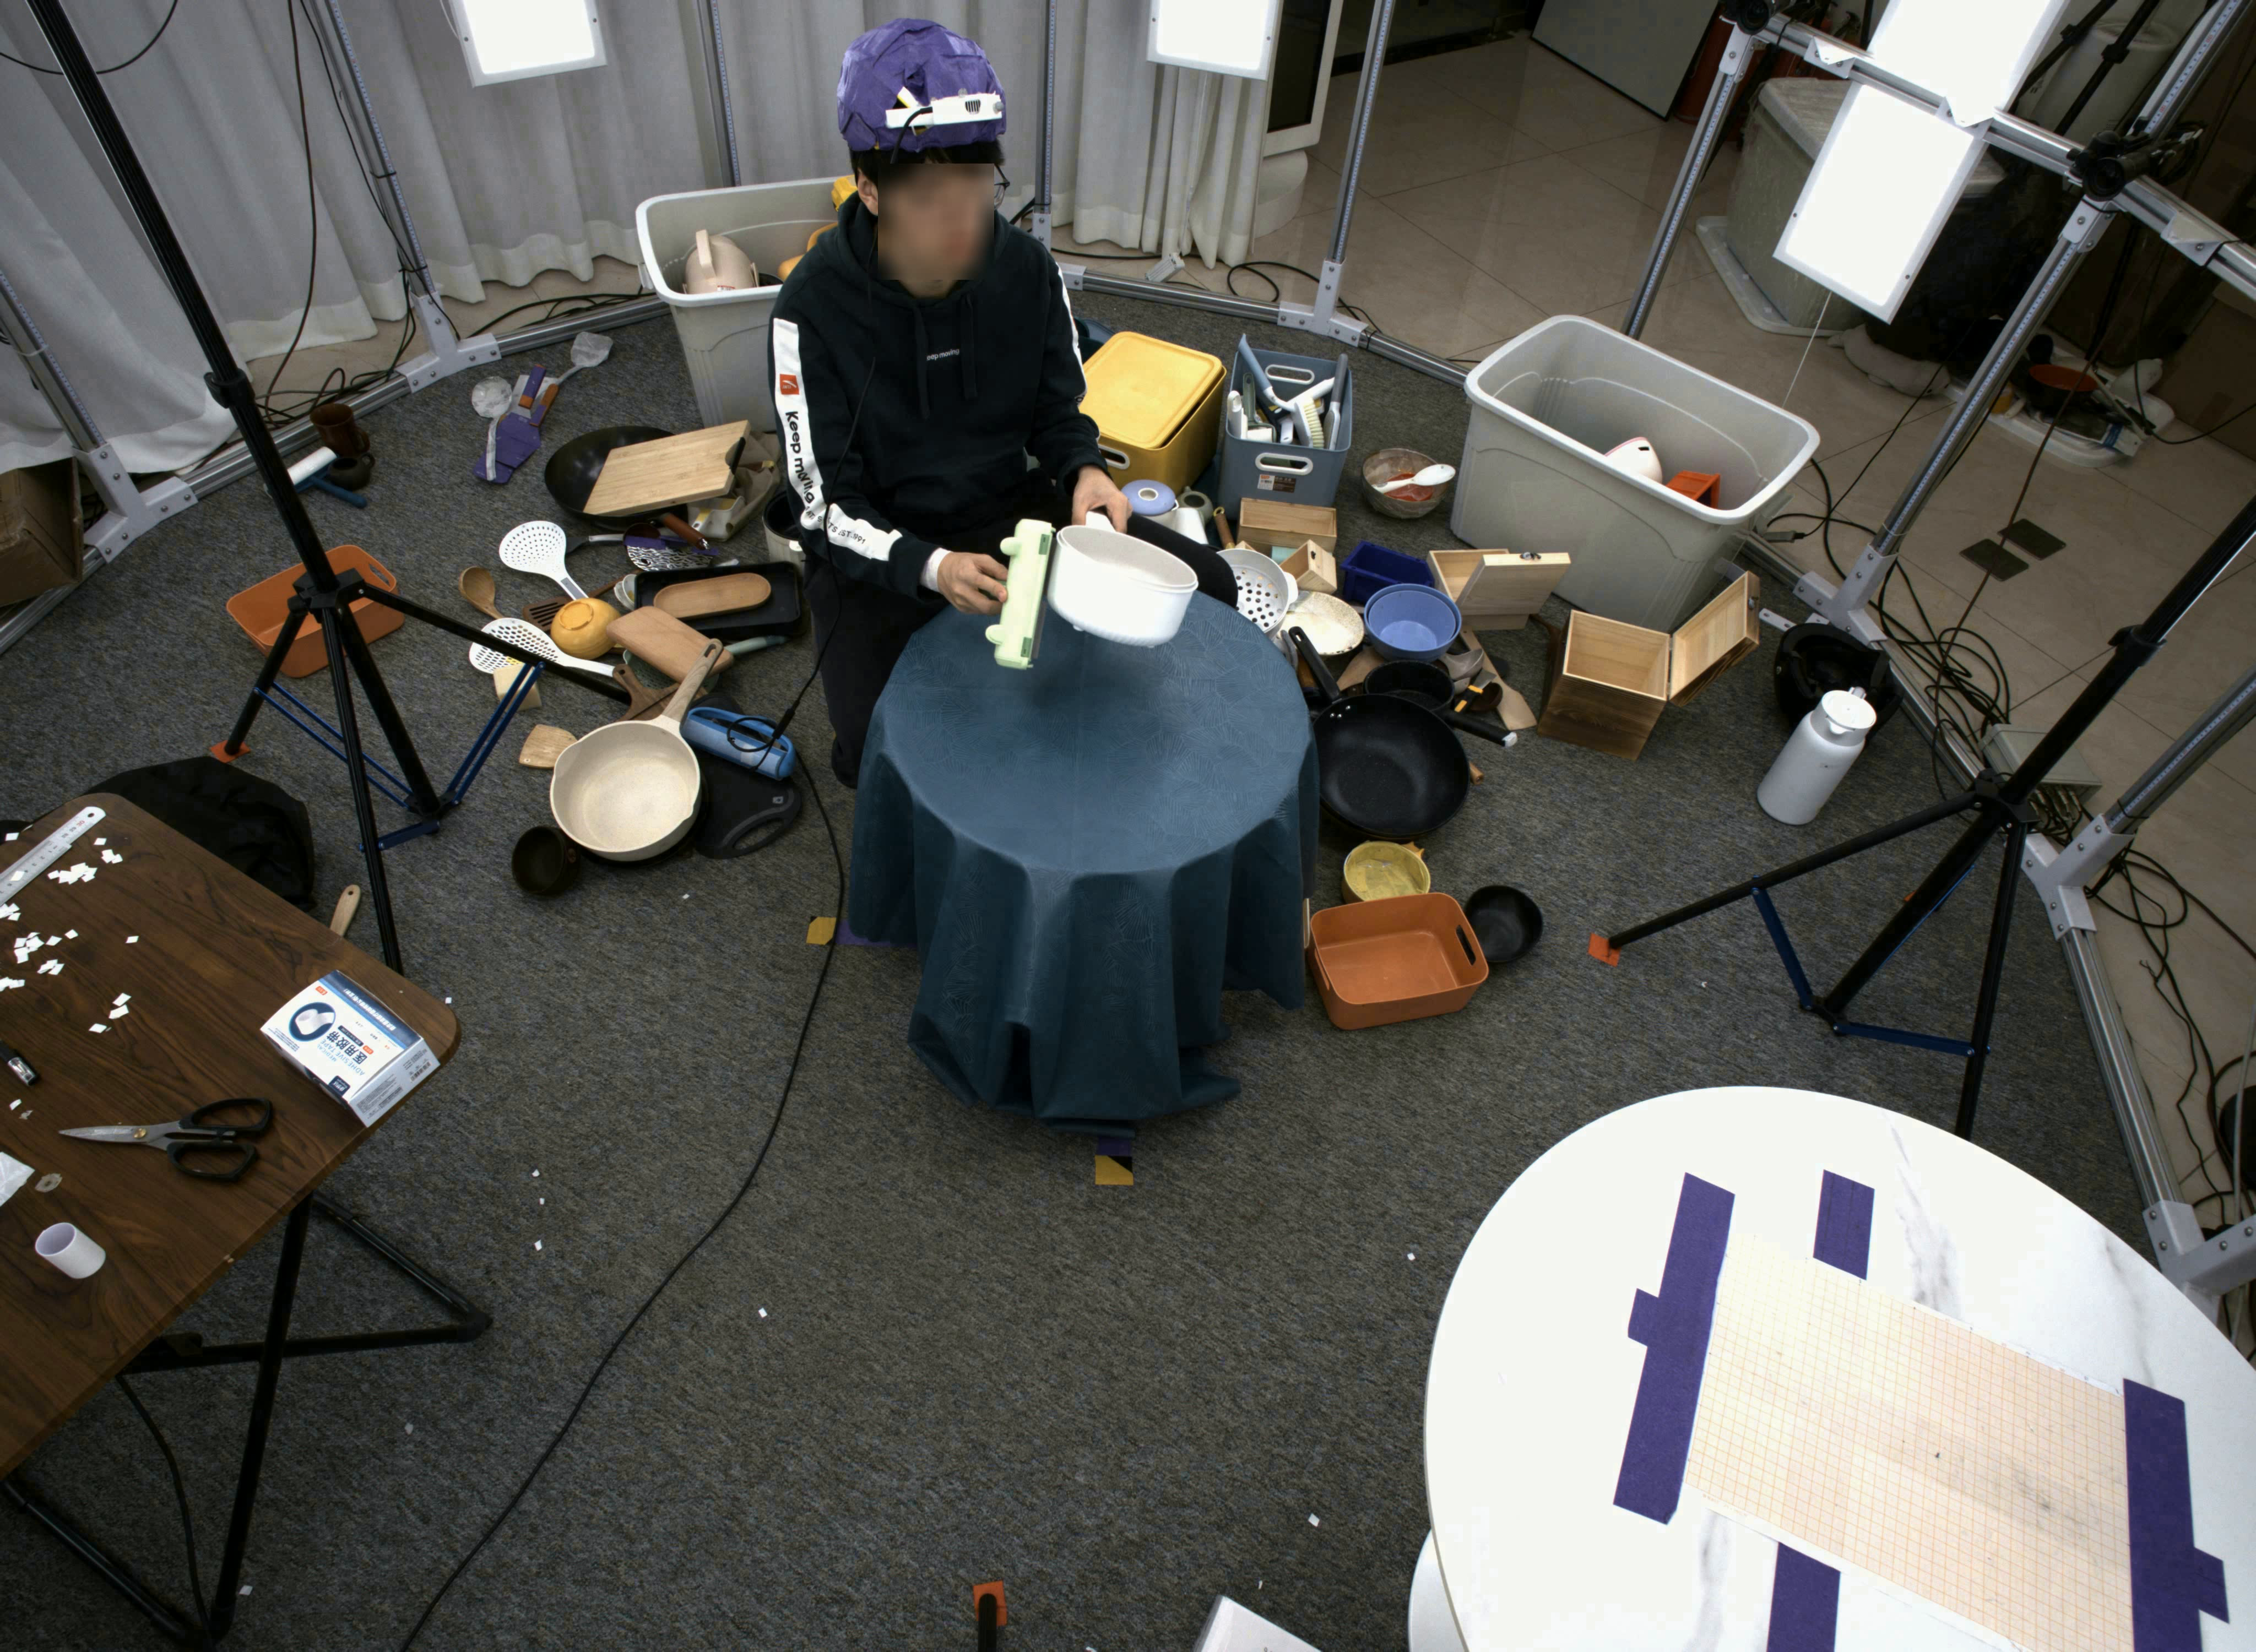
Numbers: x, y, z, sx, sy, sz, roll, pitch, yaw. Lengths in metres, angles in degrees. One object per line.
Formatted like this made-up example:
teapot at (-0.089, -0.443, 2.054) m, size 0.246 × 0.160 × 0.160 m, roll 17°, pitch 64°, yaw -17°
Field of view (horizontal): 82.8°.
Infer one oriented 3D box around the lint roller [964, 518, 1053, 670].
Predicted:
lint roller at (-0.183, -0.319, 1.740) m, size 0.185 × 0.198 × 0.081 m, roll 16°, pitch 8°, yaw 42°

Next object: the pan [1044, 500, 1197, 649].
pan at (-0.033, -0.359, 1.811) m, size 0.200 × 0.100 × 0.363 m, roll 11°, pitch 27°, yaw -20°
